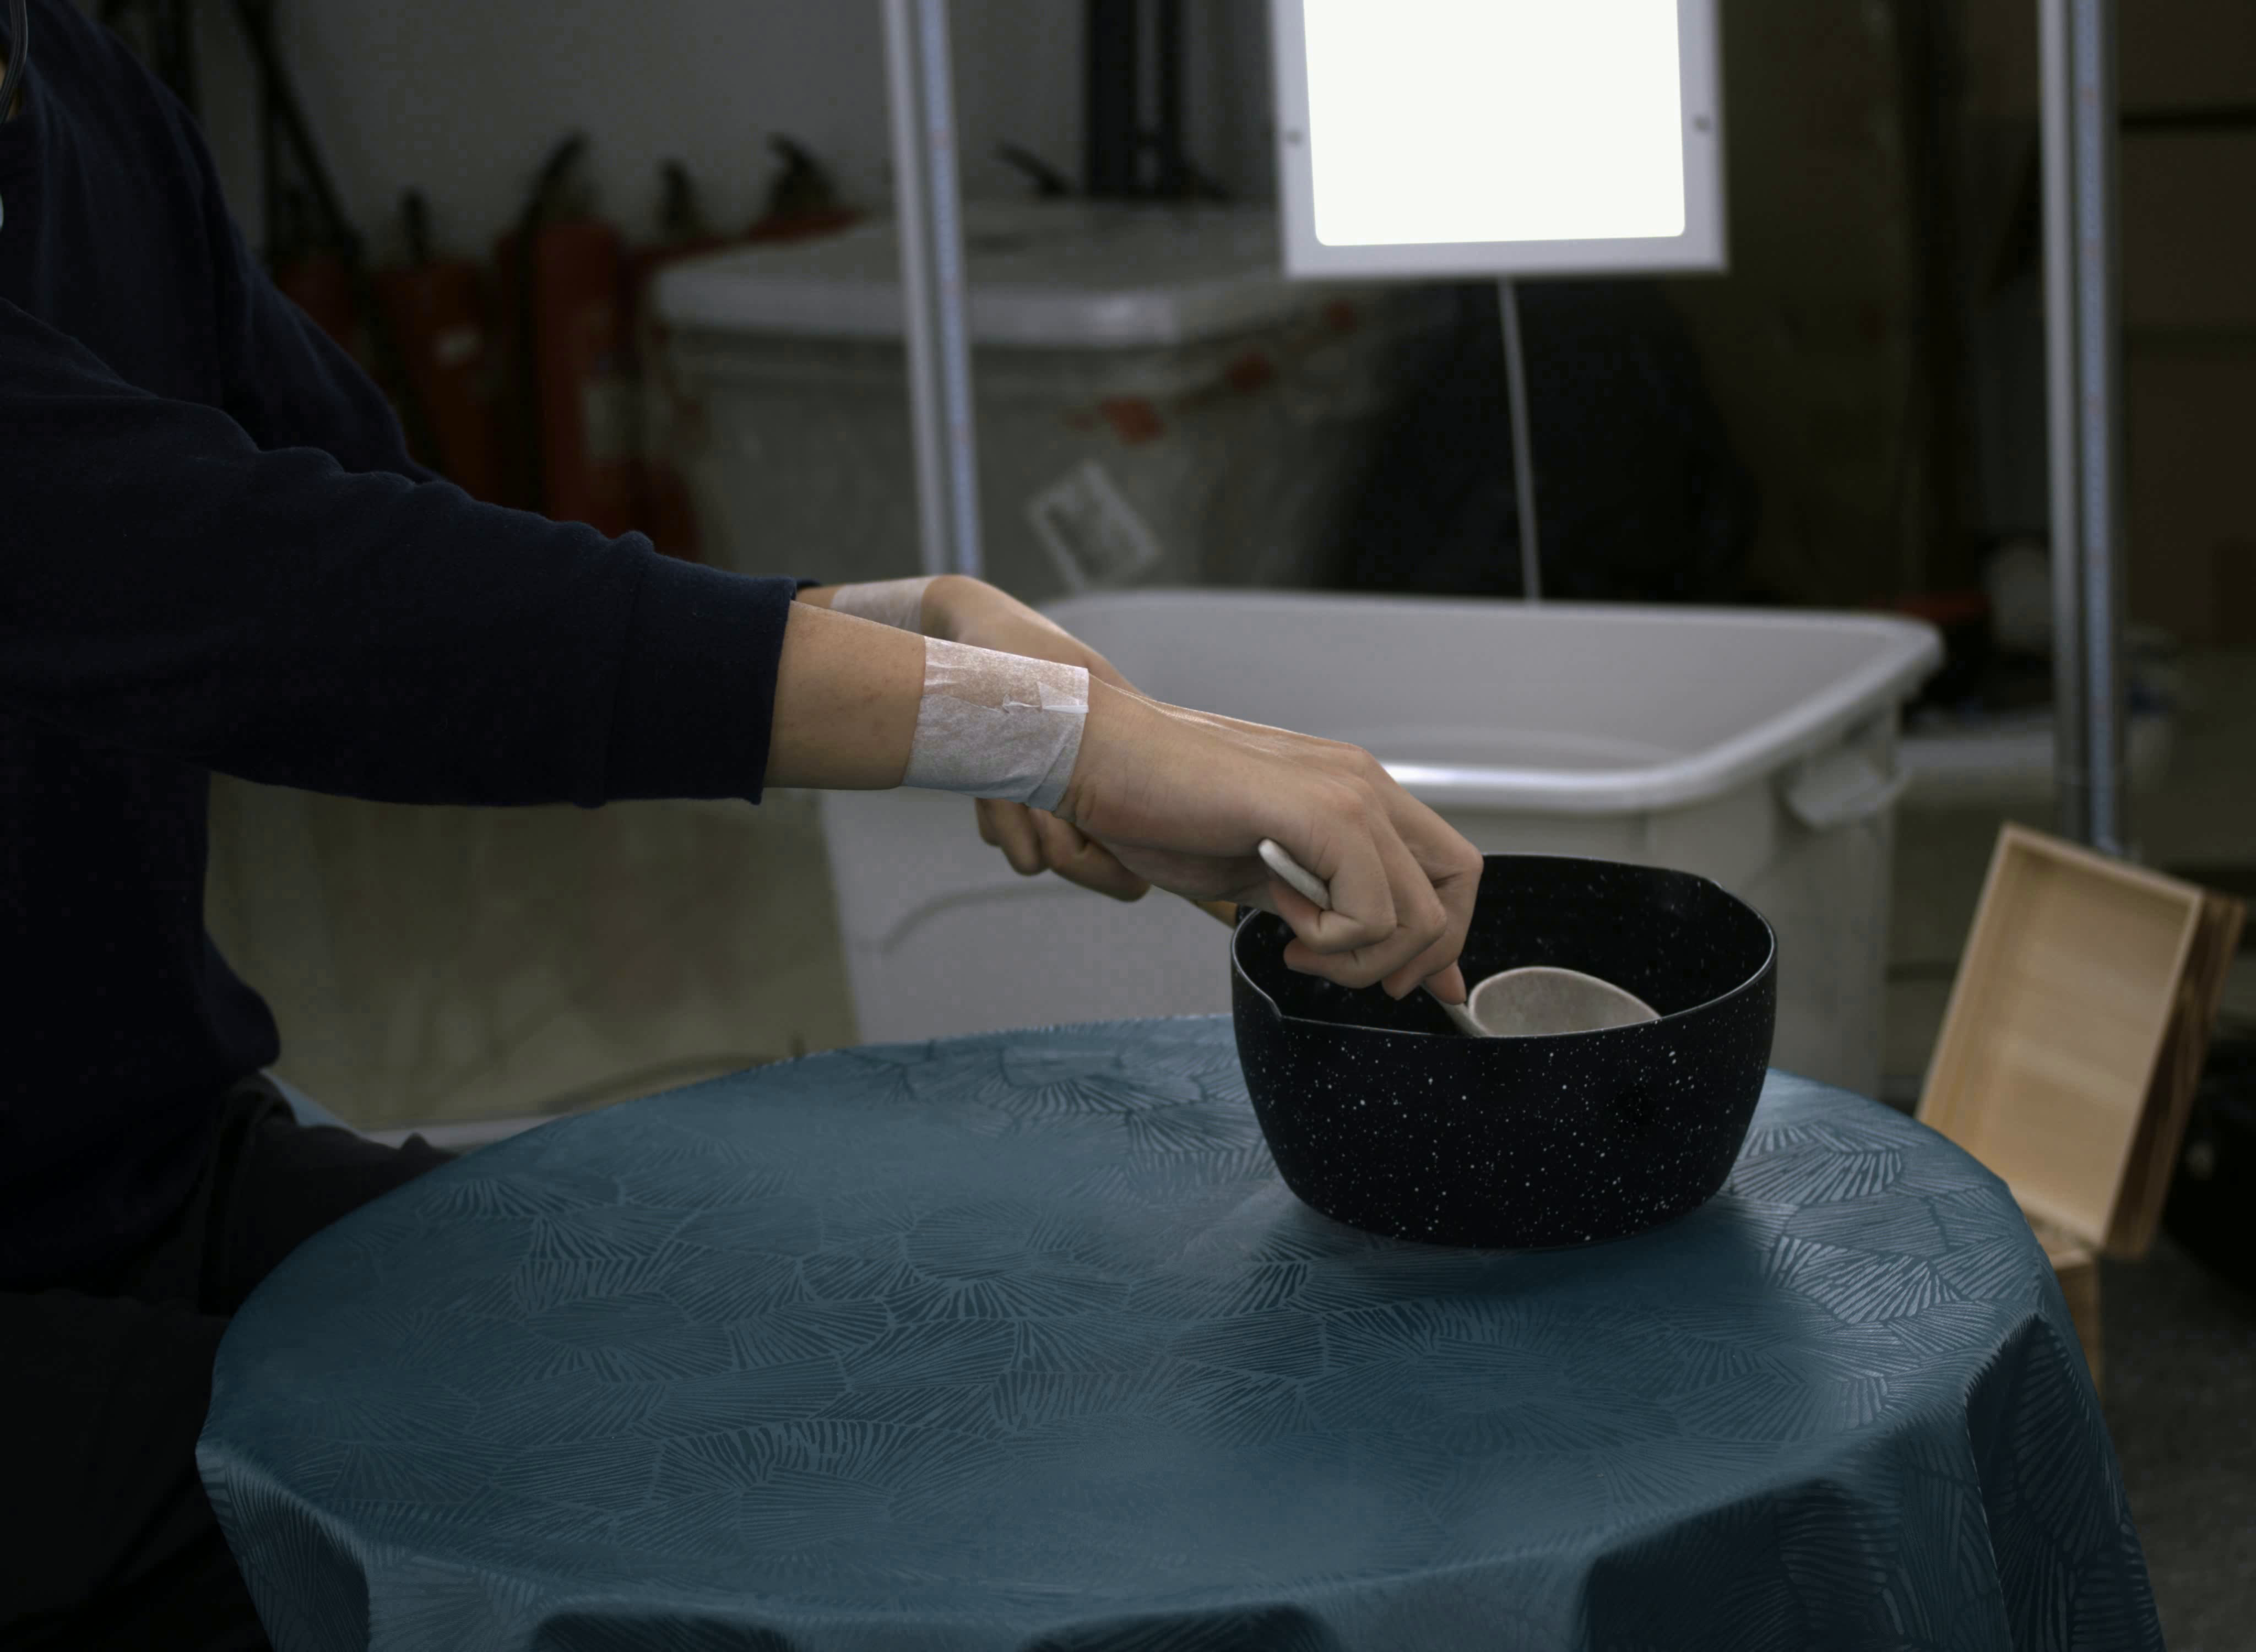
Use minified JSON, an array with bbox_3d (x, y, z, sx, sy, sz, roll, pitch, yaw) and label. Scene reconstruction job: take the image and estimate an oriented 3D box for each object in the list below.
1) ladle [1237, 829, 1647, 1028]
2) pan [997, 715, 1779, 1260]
[{"bbox_3d":[0.111,0.039,1.768,0.069,0.090,0.271,-35,-32,5],"label":"ladle"},{"bbox_3d":[0.073,0.050,1.905,0.202,0.109,0.350,-20,26,-38],"label":"pan"}]
